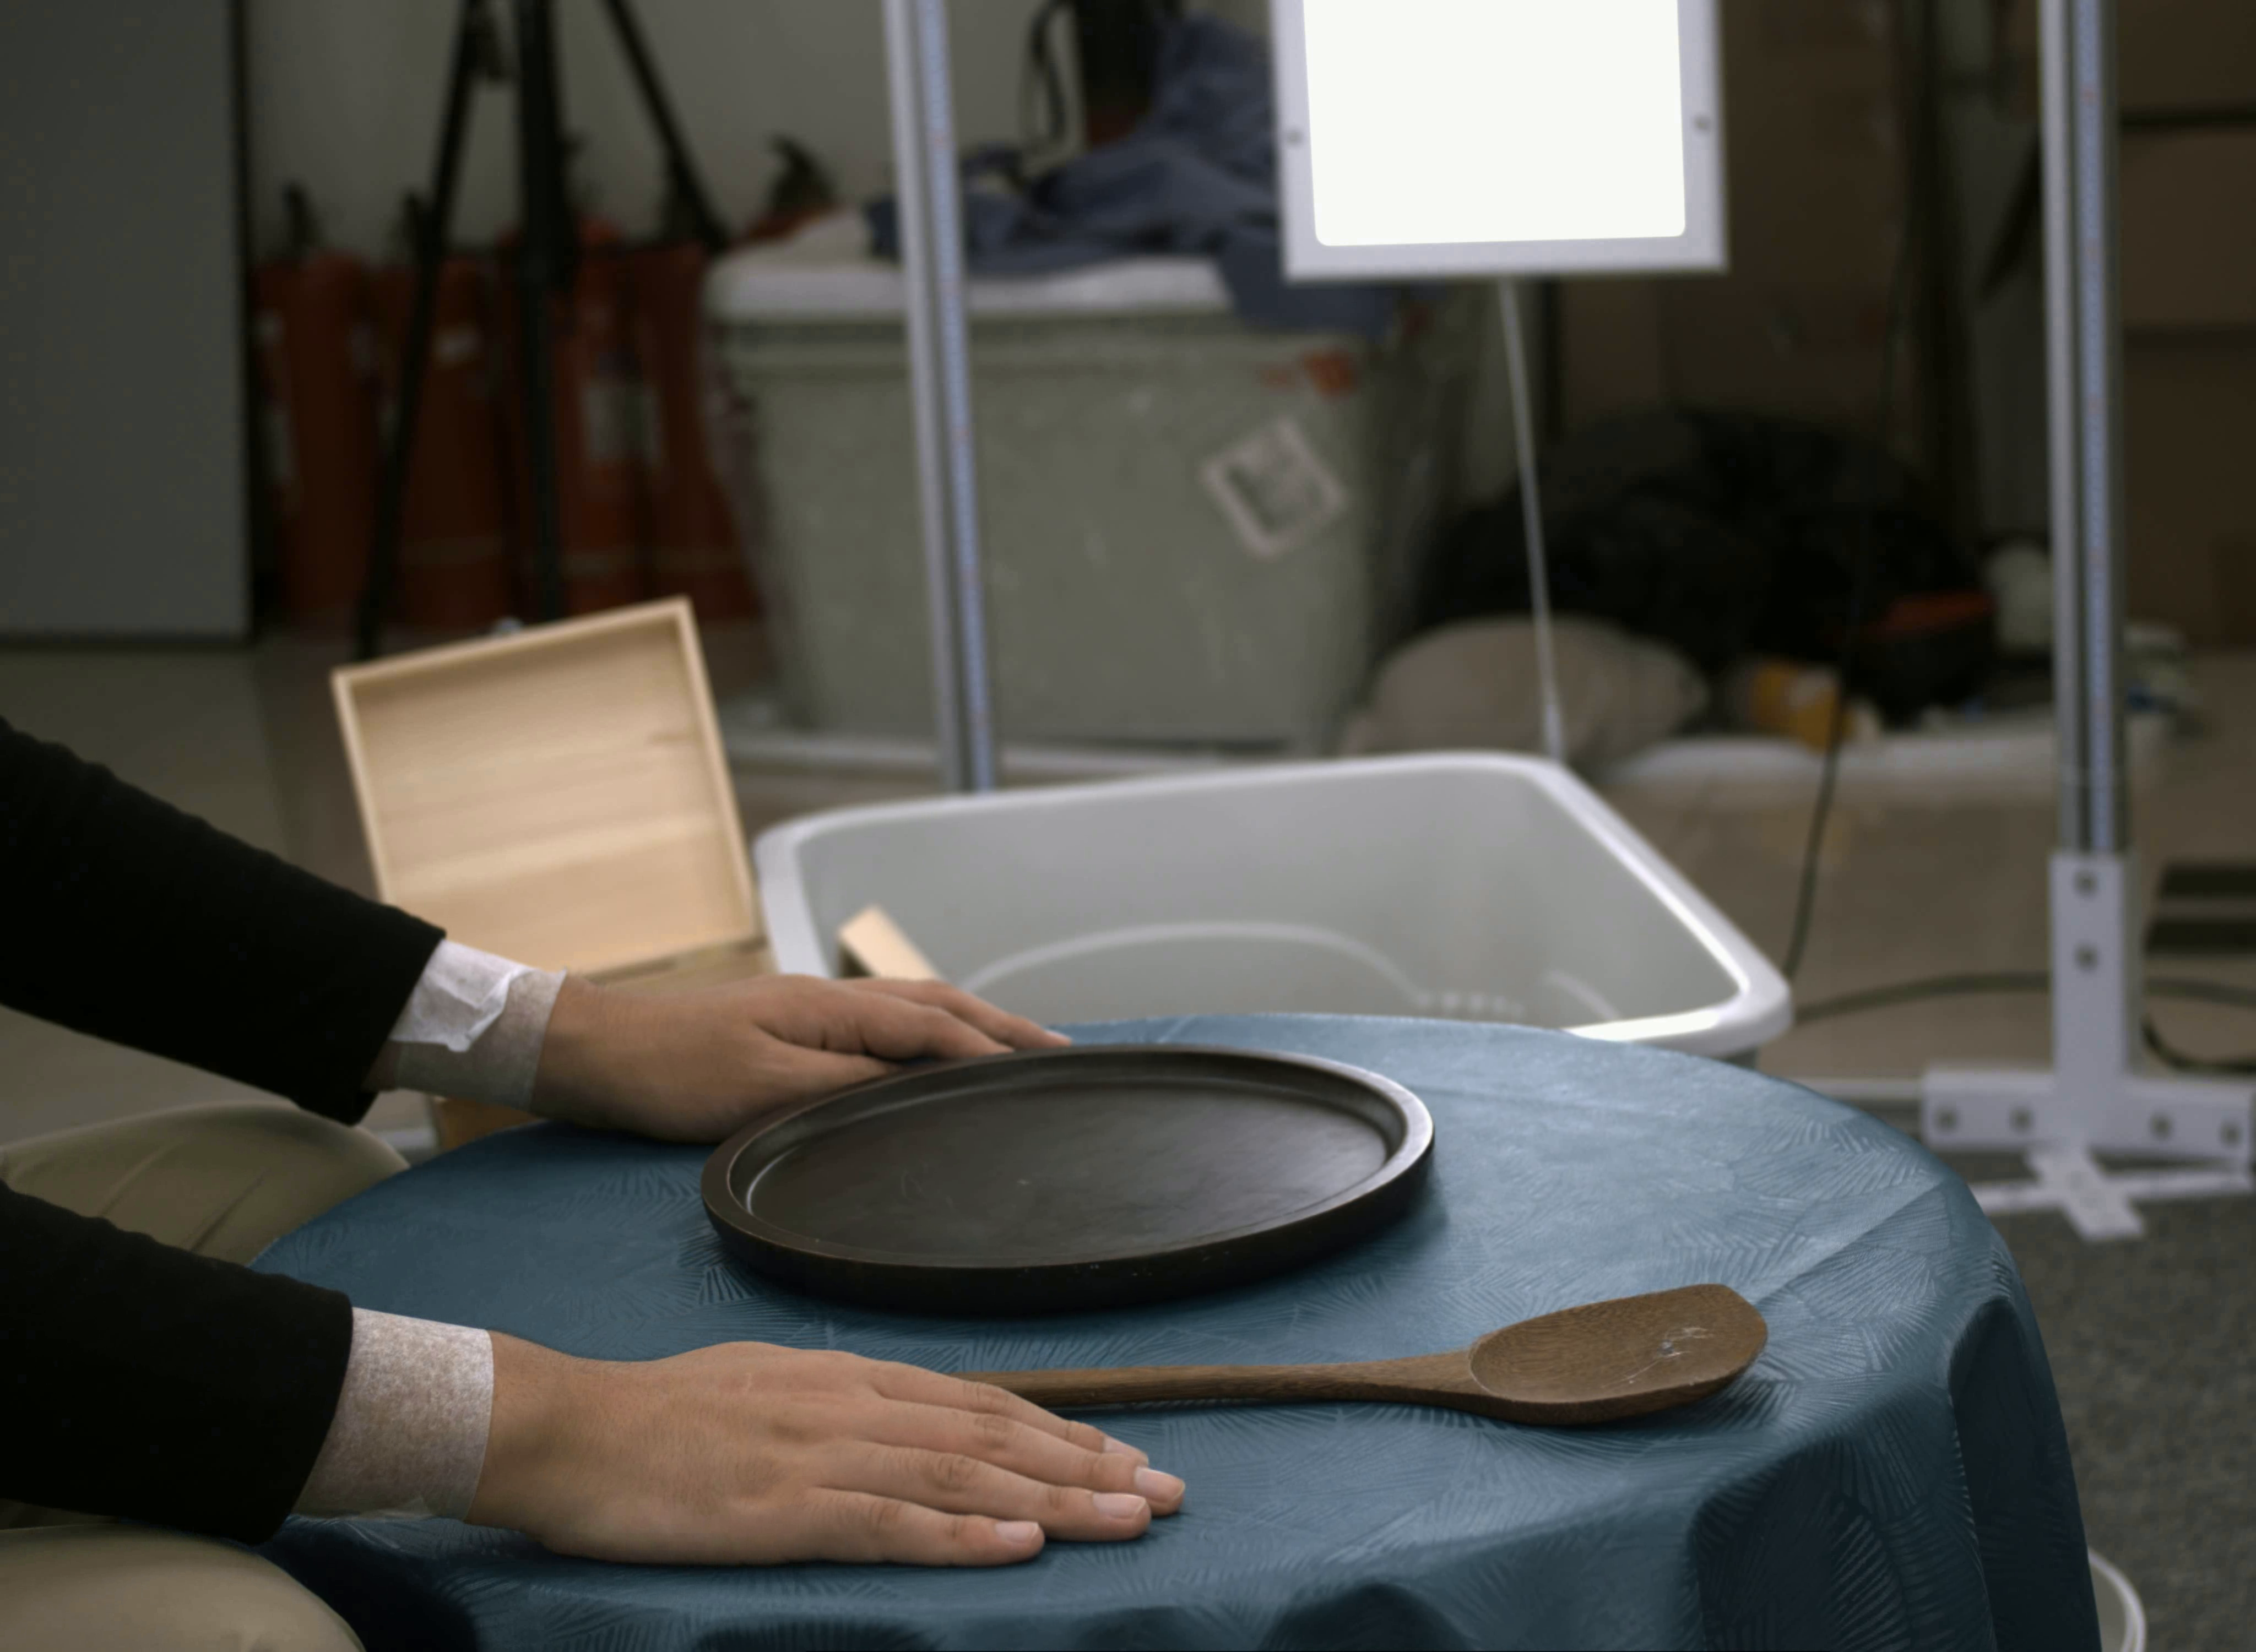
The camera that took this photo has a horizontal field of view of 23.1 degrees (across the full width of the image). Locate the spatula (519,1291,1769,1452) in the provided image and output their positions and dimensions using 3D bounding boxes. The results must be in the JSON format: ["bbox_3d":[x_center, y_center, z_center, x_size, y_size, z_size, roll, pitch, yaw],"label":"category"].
[{"bbox_3d":[0.003,0.171,1.684,0.387,0.016,0.095,-4,13,6],"label":"spatula"}]

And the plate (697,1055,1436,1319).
[{"bbox_3d":[-0.021,0.121,1.885,0.254,0.029,0.254,-4,15,0],"label":"plate"}]
